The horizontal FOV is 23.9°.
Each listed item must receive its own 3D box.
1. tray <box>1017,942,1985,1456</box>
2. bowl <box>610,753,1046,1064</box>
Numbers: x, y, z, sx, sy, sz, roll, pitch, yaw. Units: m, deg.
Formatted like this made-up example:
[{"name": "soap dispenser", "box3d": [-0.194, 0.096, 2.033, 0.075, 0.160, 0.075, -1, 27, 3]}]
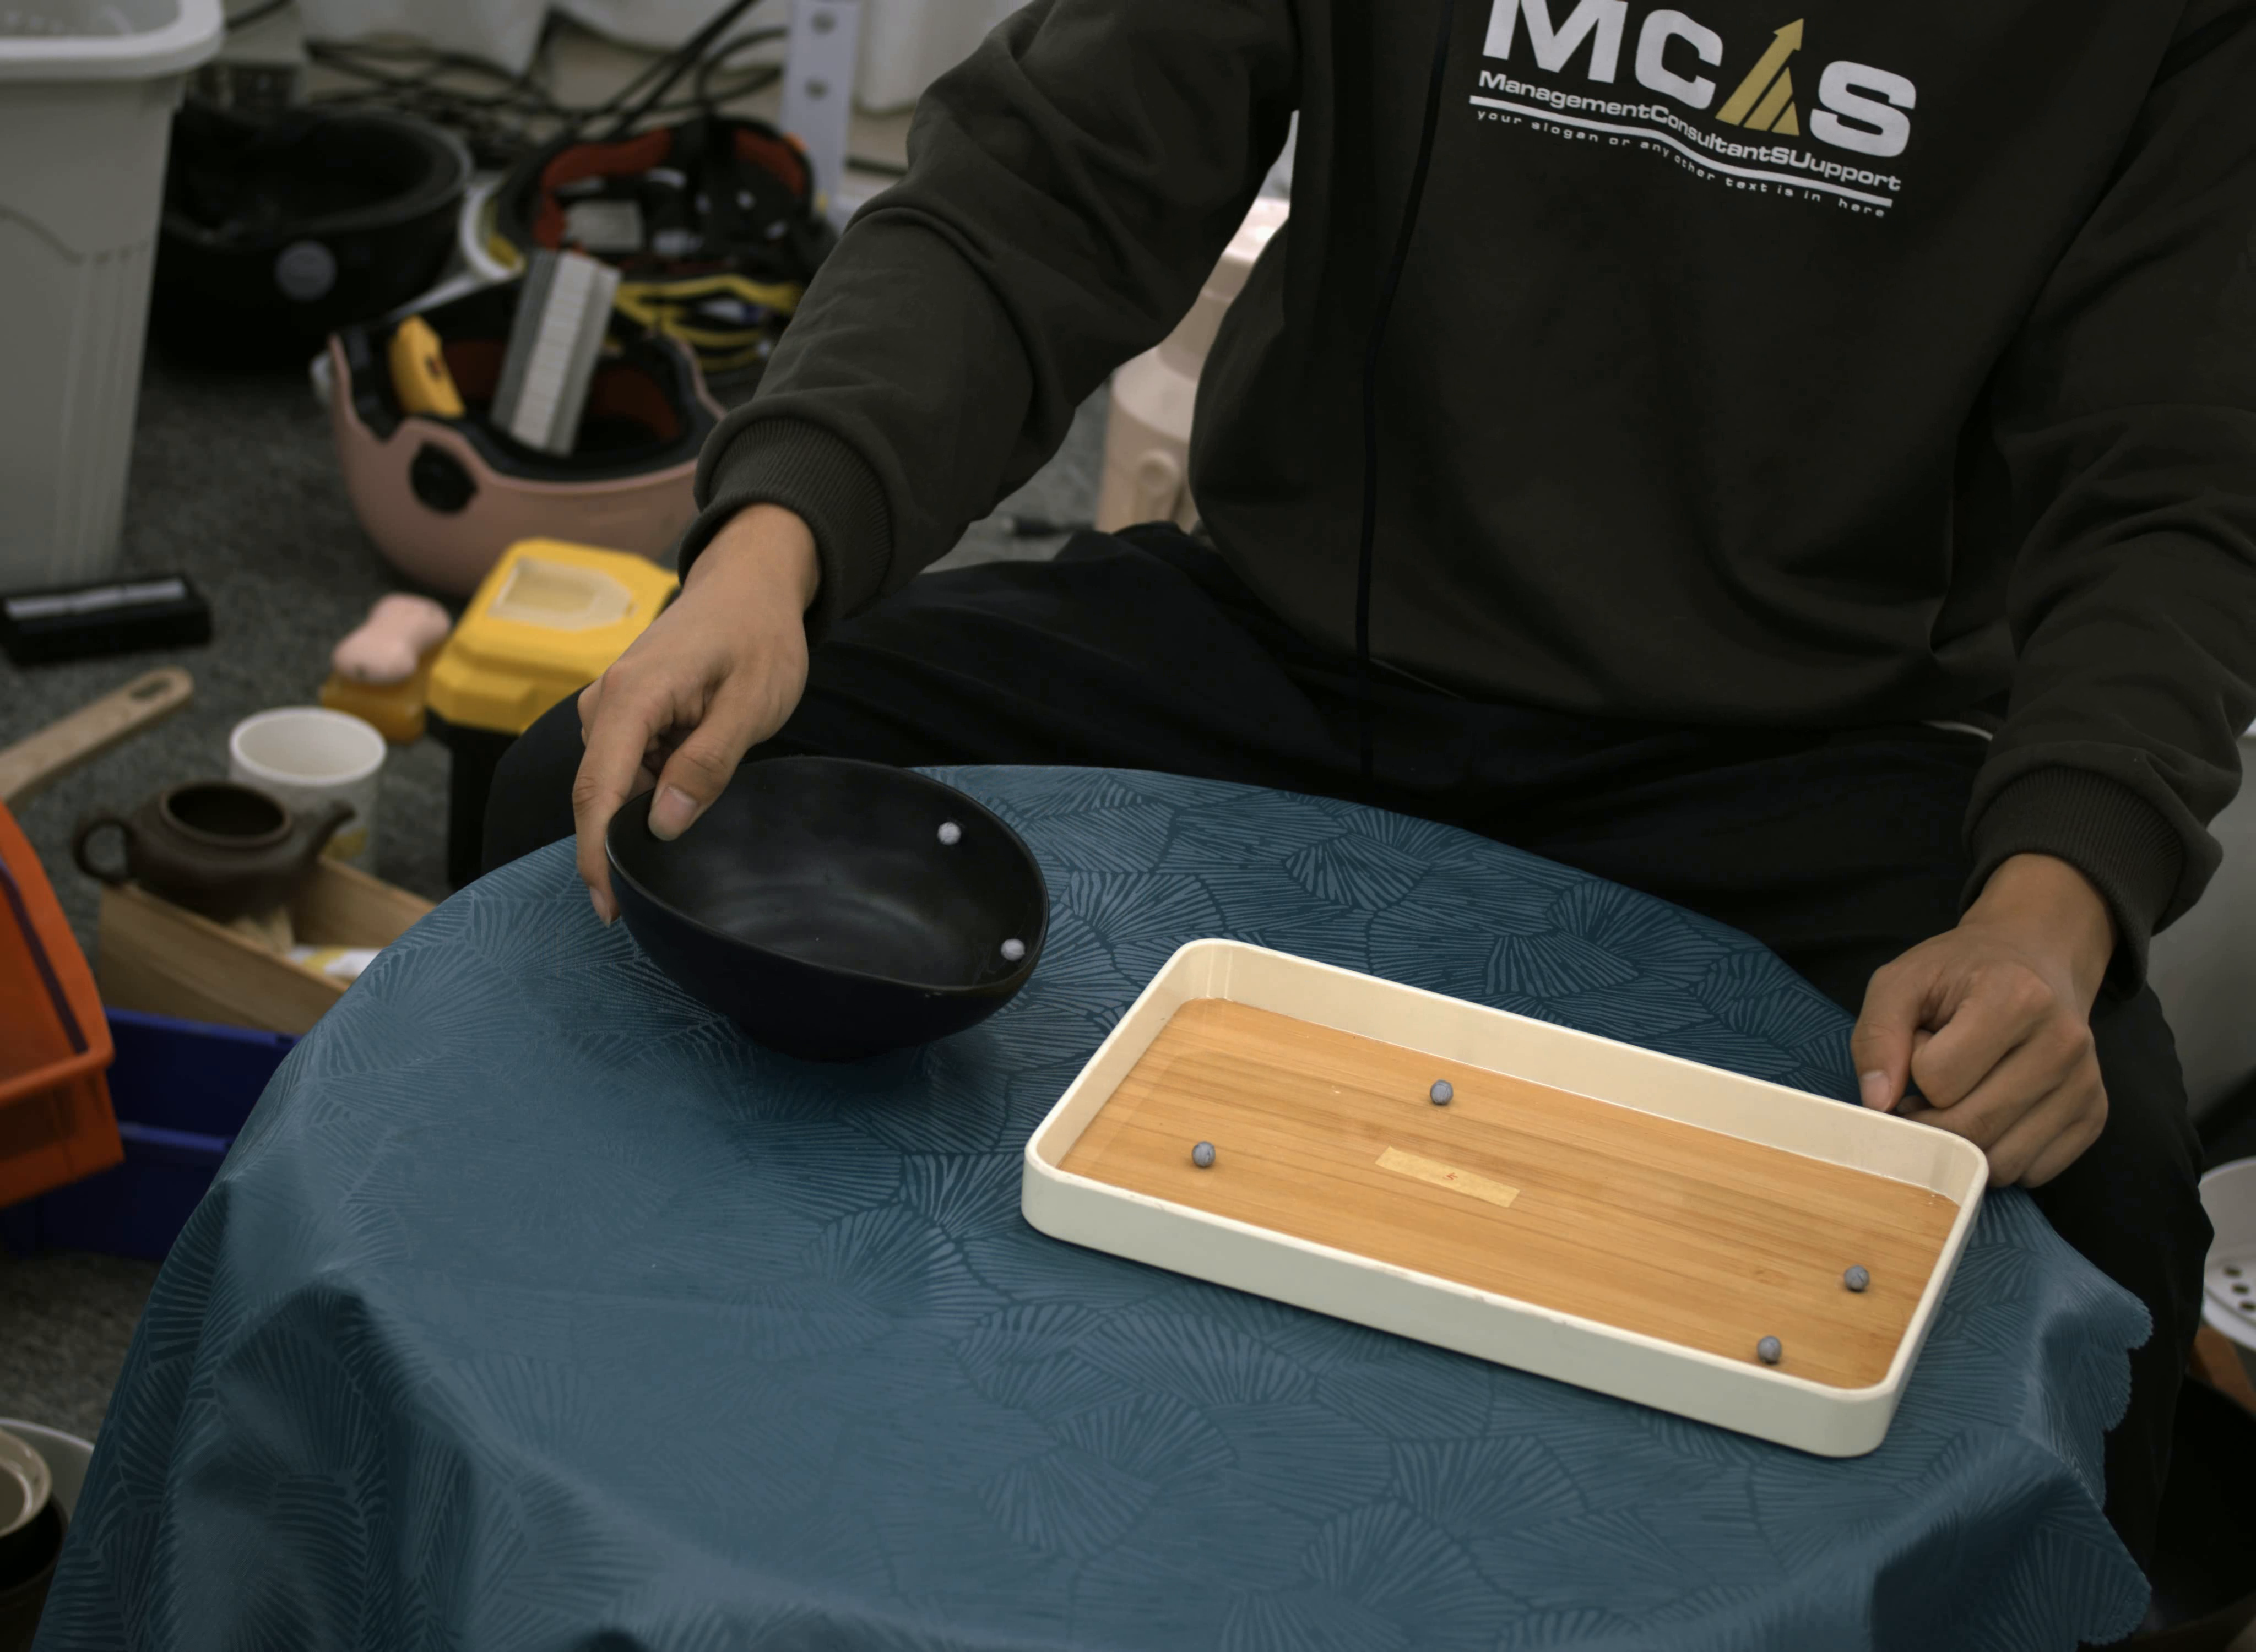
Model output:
[{"name": "tray", "box3d": [0.129, 0.122, 1.810, 0.301, 0.027, 0.192, 14, 27, 15]}, {"name": "bowl", "box3d": [-0.105, 0.038, 1.877, 0.171, 0.066, 0.137, 24, 36, 29]}]
